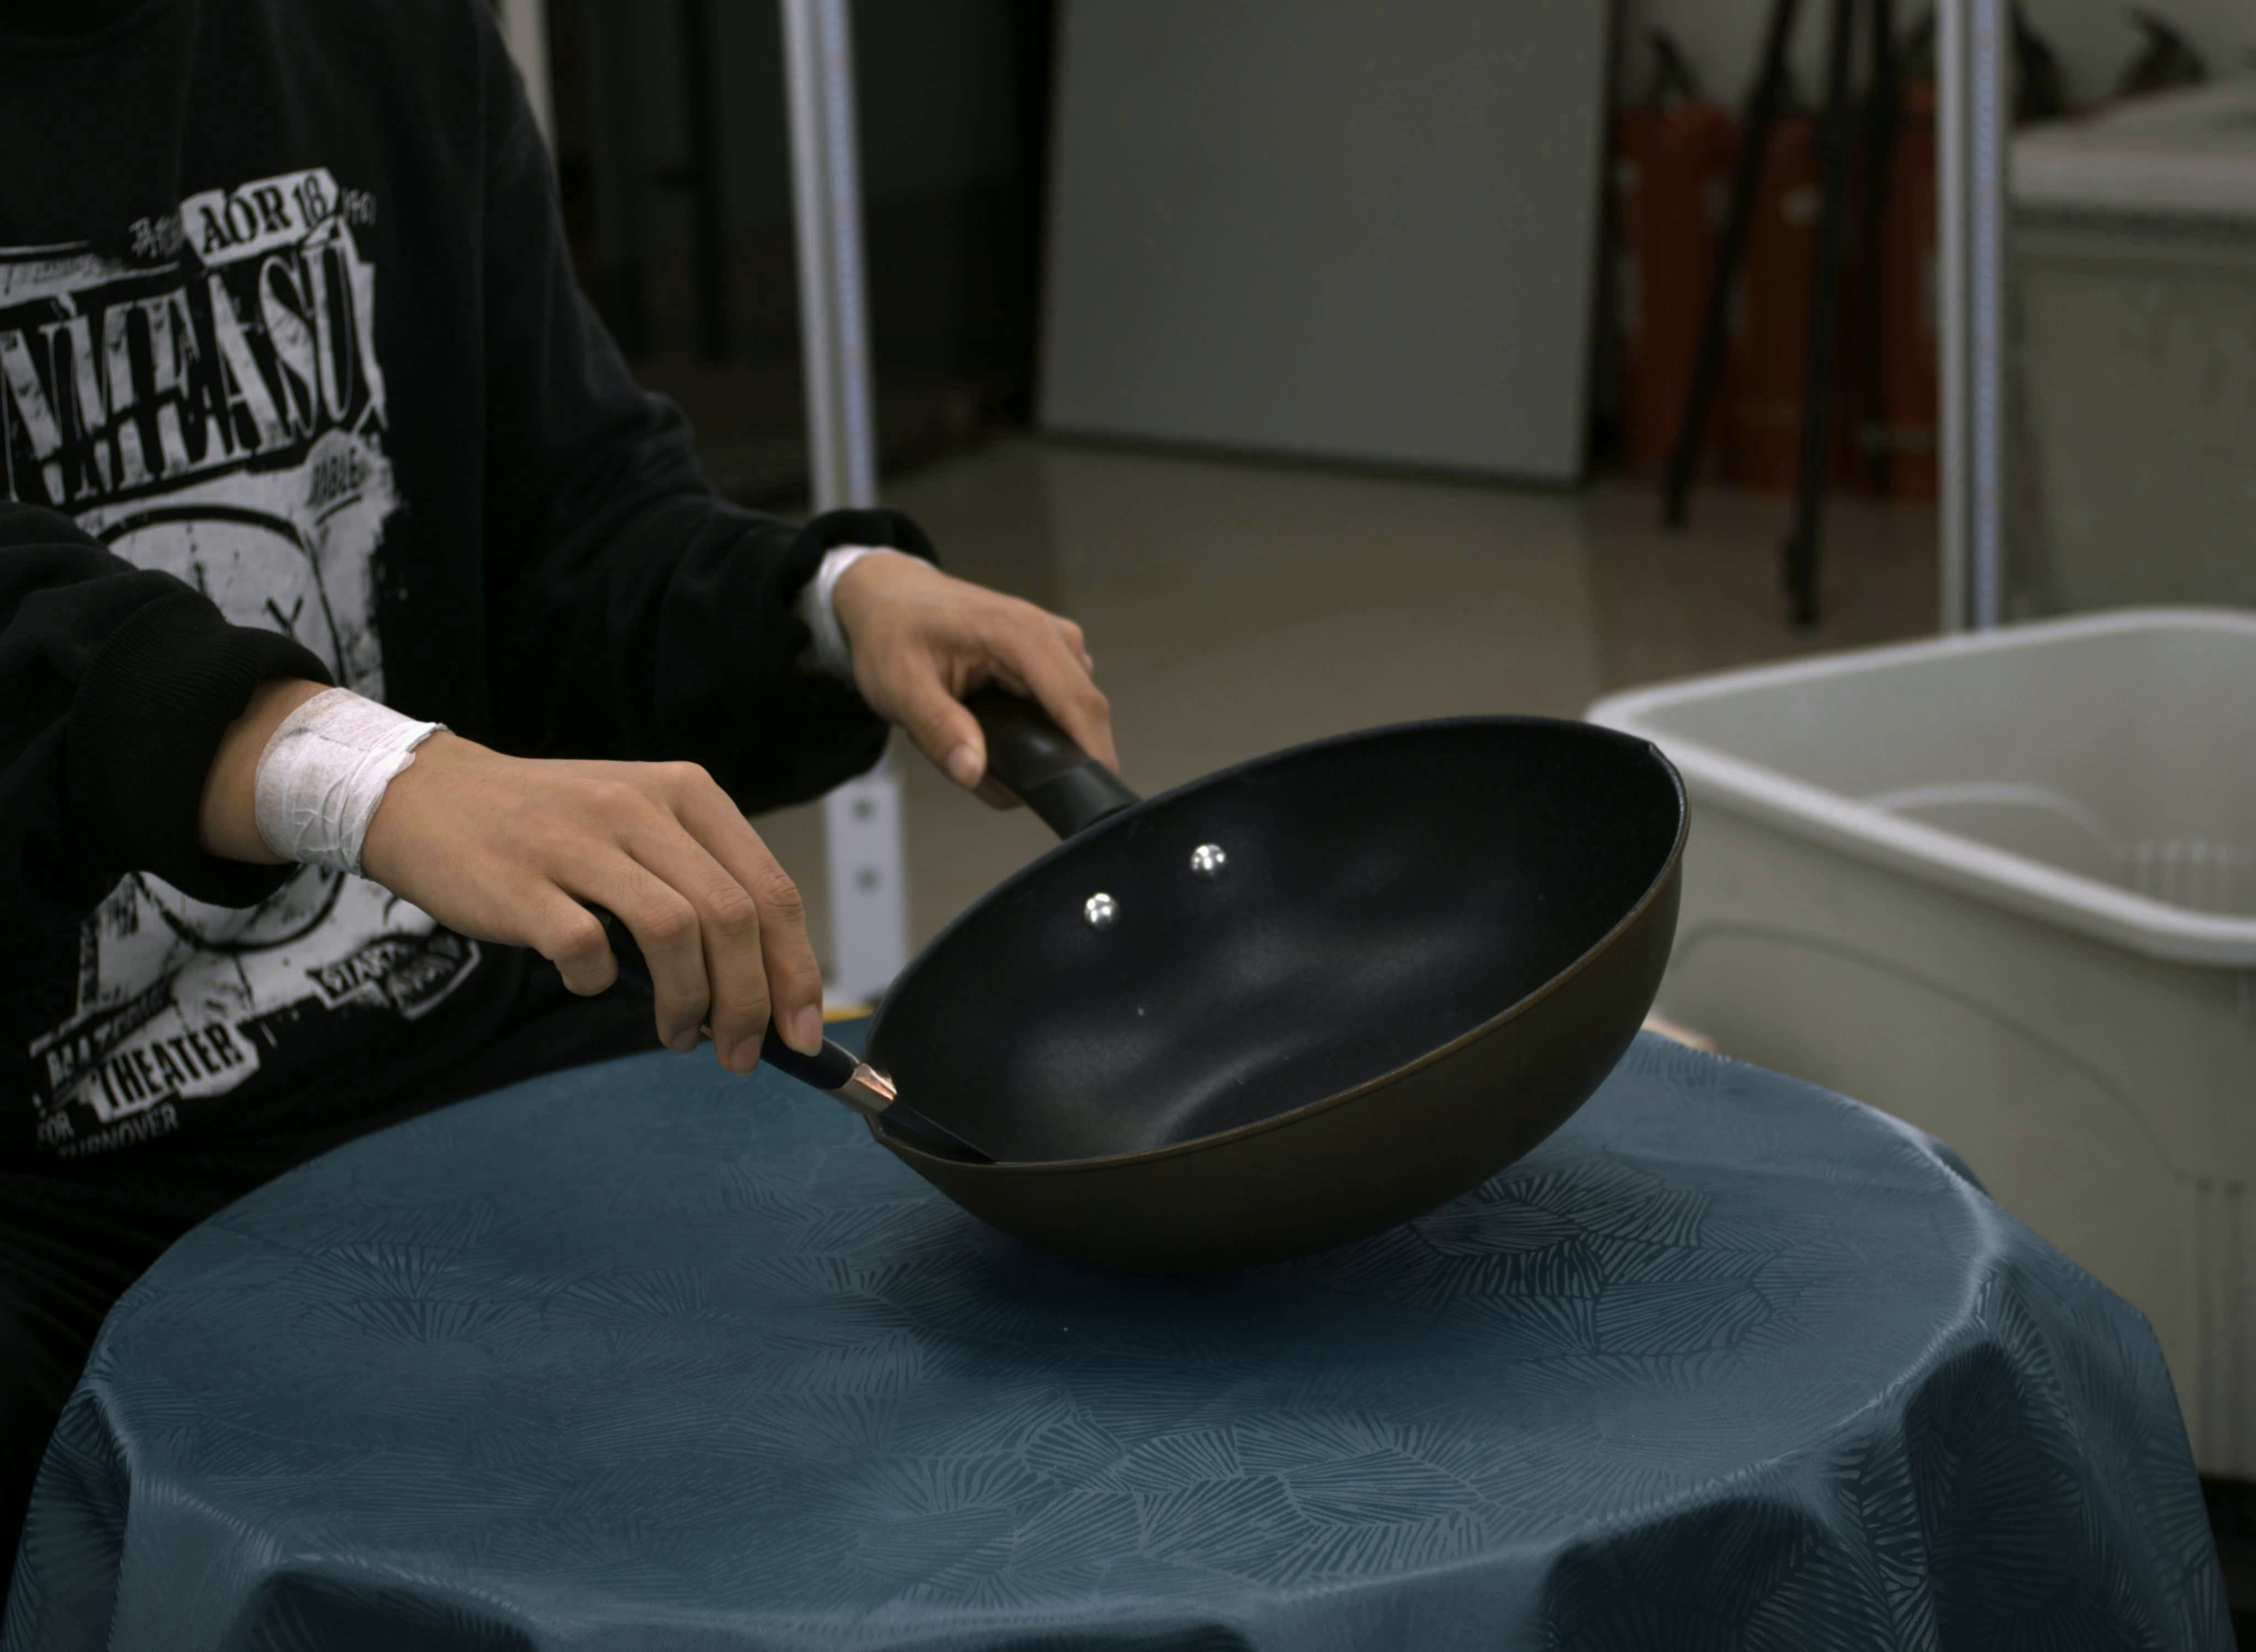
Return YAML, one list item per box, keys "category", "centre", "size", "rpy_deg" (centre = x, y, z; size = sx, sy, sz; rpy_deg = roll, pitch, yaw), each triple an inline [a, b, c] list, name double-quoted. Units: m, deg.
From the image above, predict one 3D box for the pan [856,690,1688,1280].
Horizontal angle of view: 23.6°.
- category: "pan"
  centre: [0.026, 0.044, 1.807]
  size: [0.284, 0.087, 0.467]
  rpy_deg: [-27, 21, -11]

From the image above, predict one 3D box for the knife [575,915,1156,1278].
- category: "knife"
  centre: [-0.075, 0.084, 1.627]
  size: [0.222, 0.017, 0.026]
  rpy_deg: [32, -32, -23]
